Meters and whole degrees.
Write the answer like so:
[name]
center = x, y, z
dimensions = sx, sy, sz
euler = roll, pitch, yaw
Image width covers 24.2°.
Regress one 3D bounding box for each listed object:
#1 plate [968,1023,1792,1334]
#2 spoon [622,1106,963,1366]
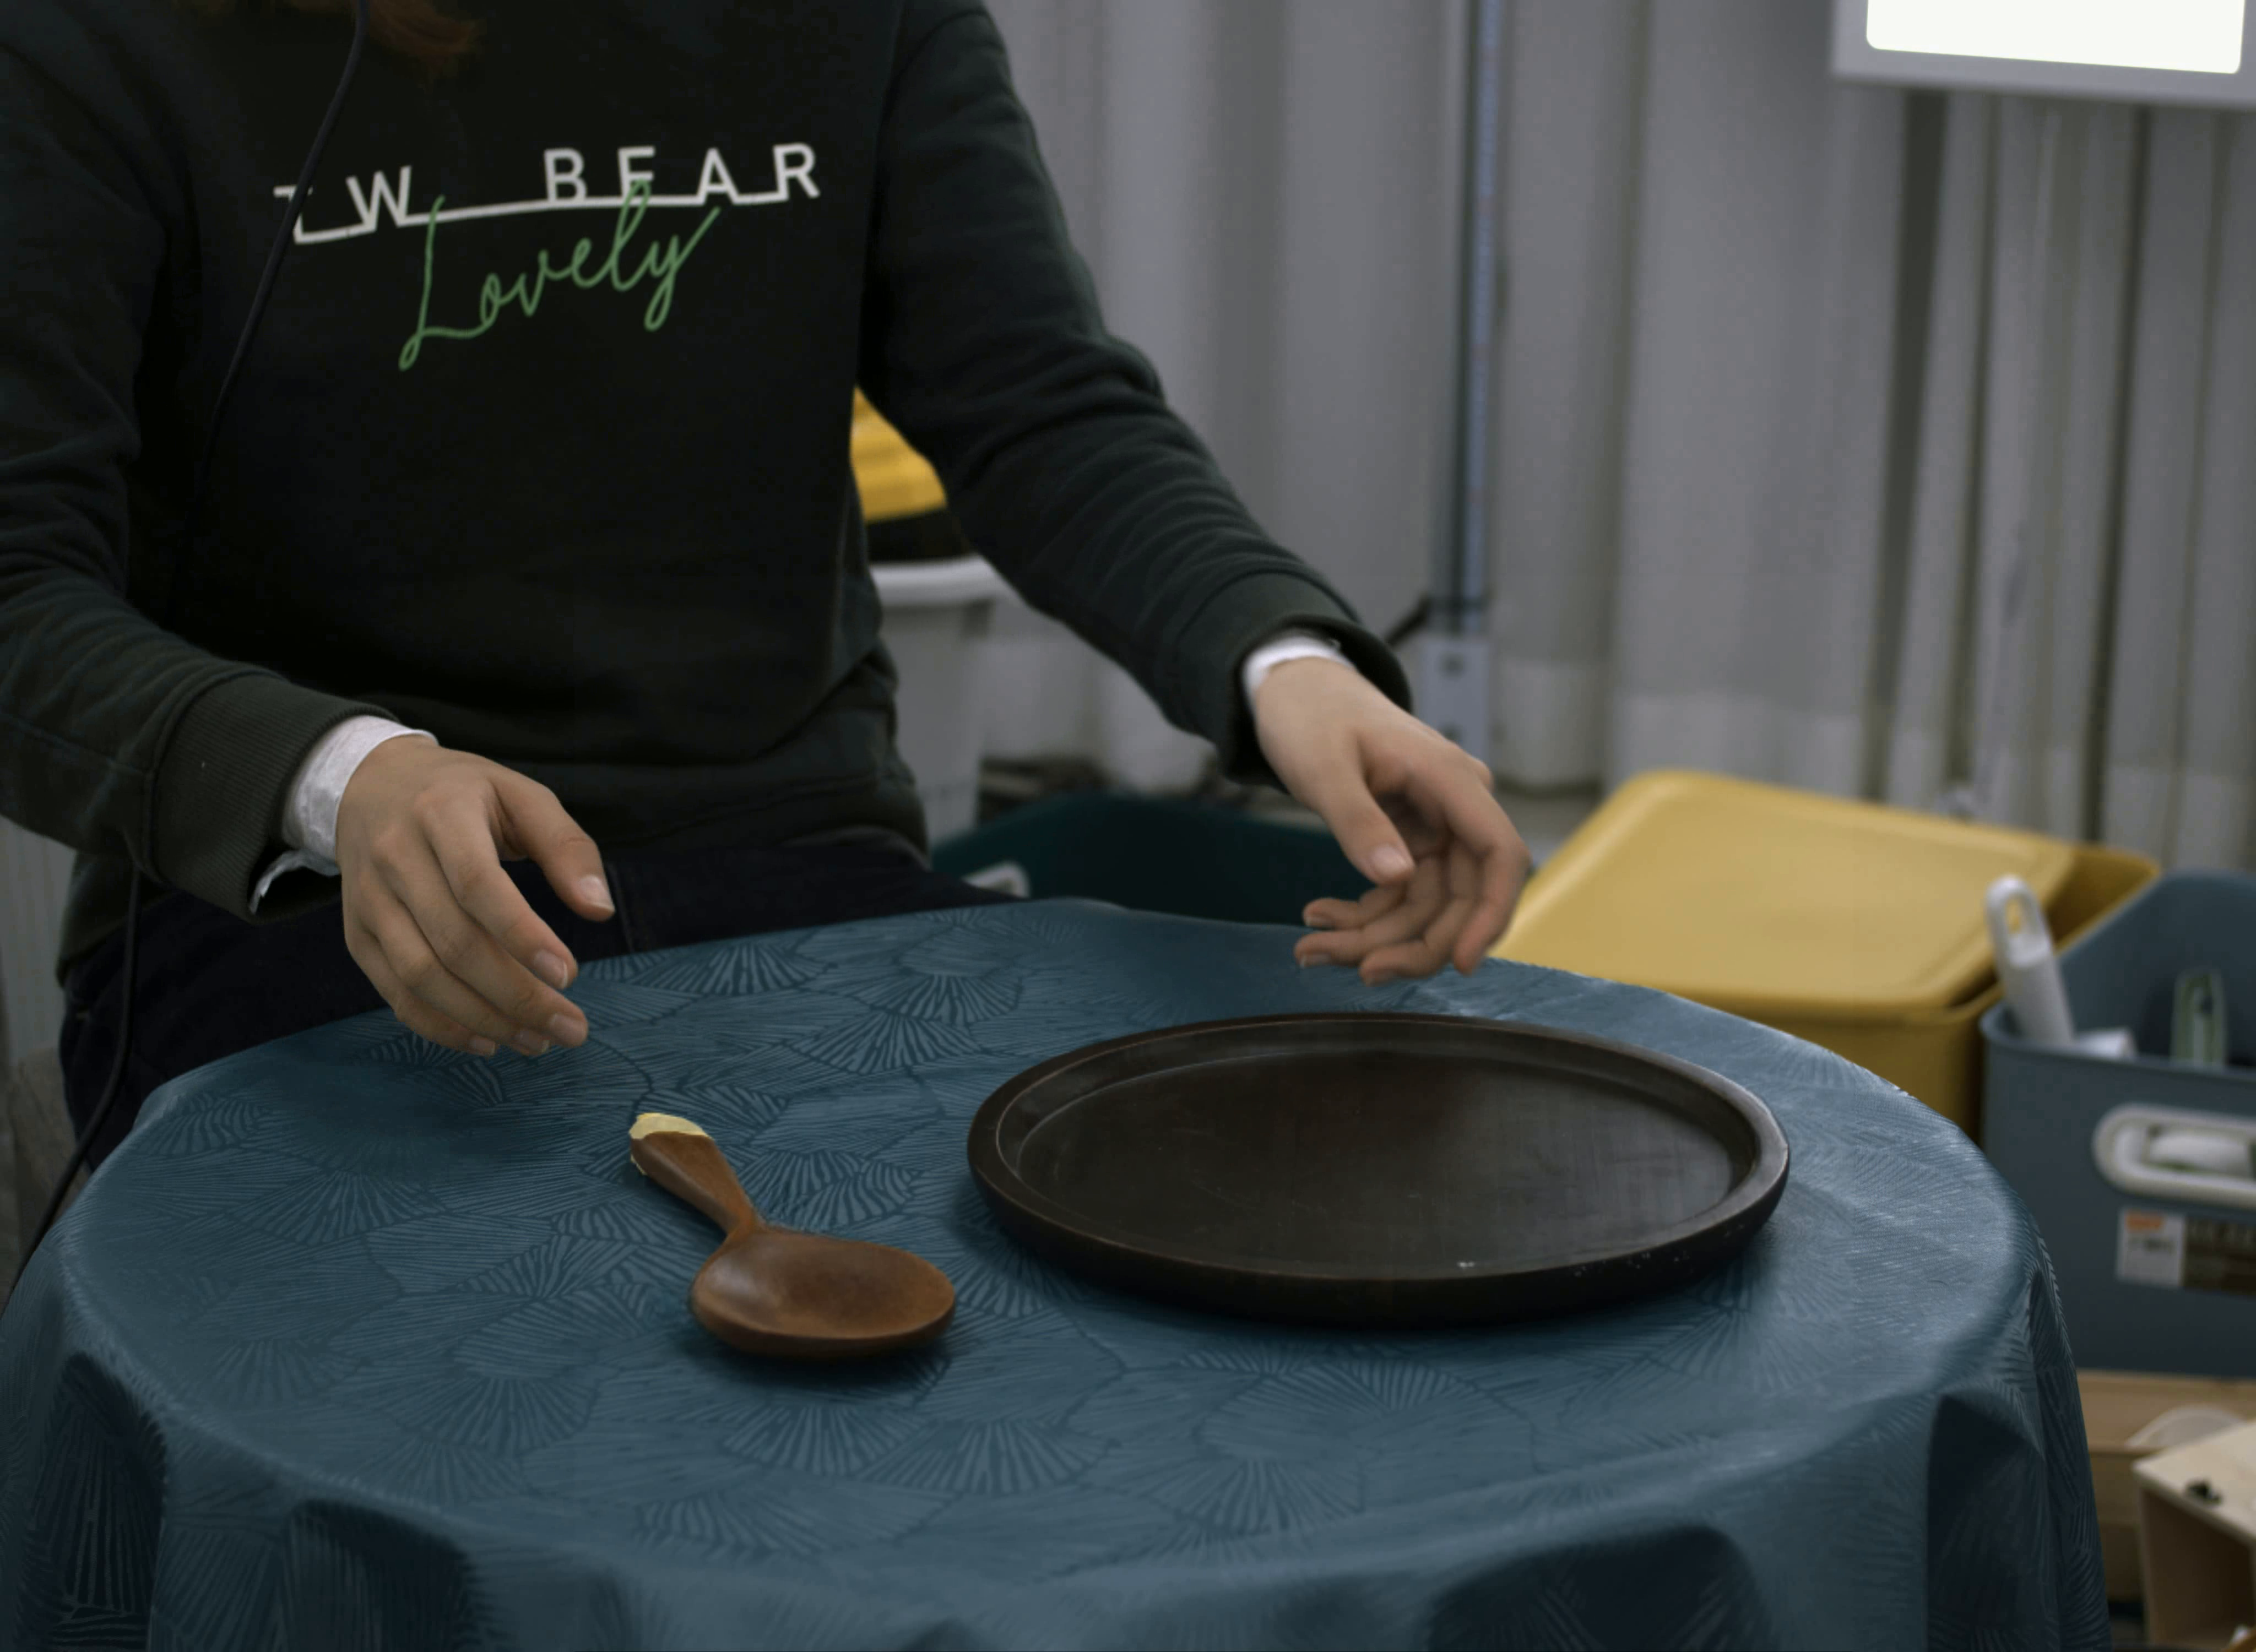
[plate]
center = 0.077, 0.105, 1.617
dimensions = 0.254, 0.029, 0.253
euler = 2, 16, 0
[spoon]
center = -0.109, 0.122, 1.558
dimensions = 0.076, 0.017, 0.213
euler = -6, 17, -21
